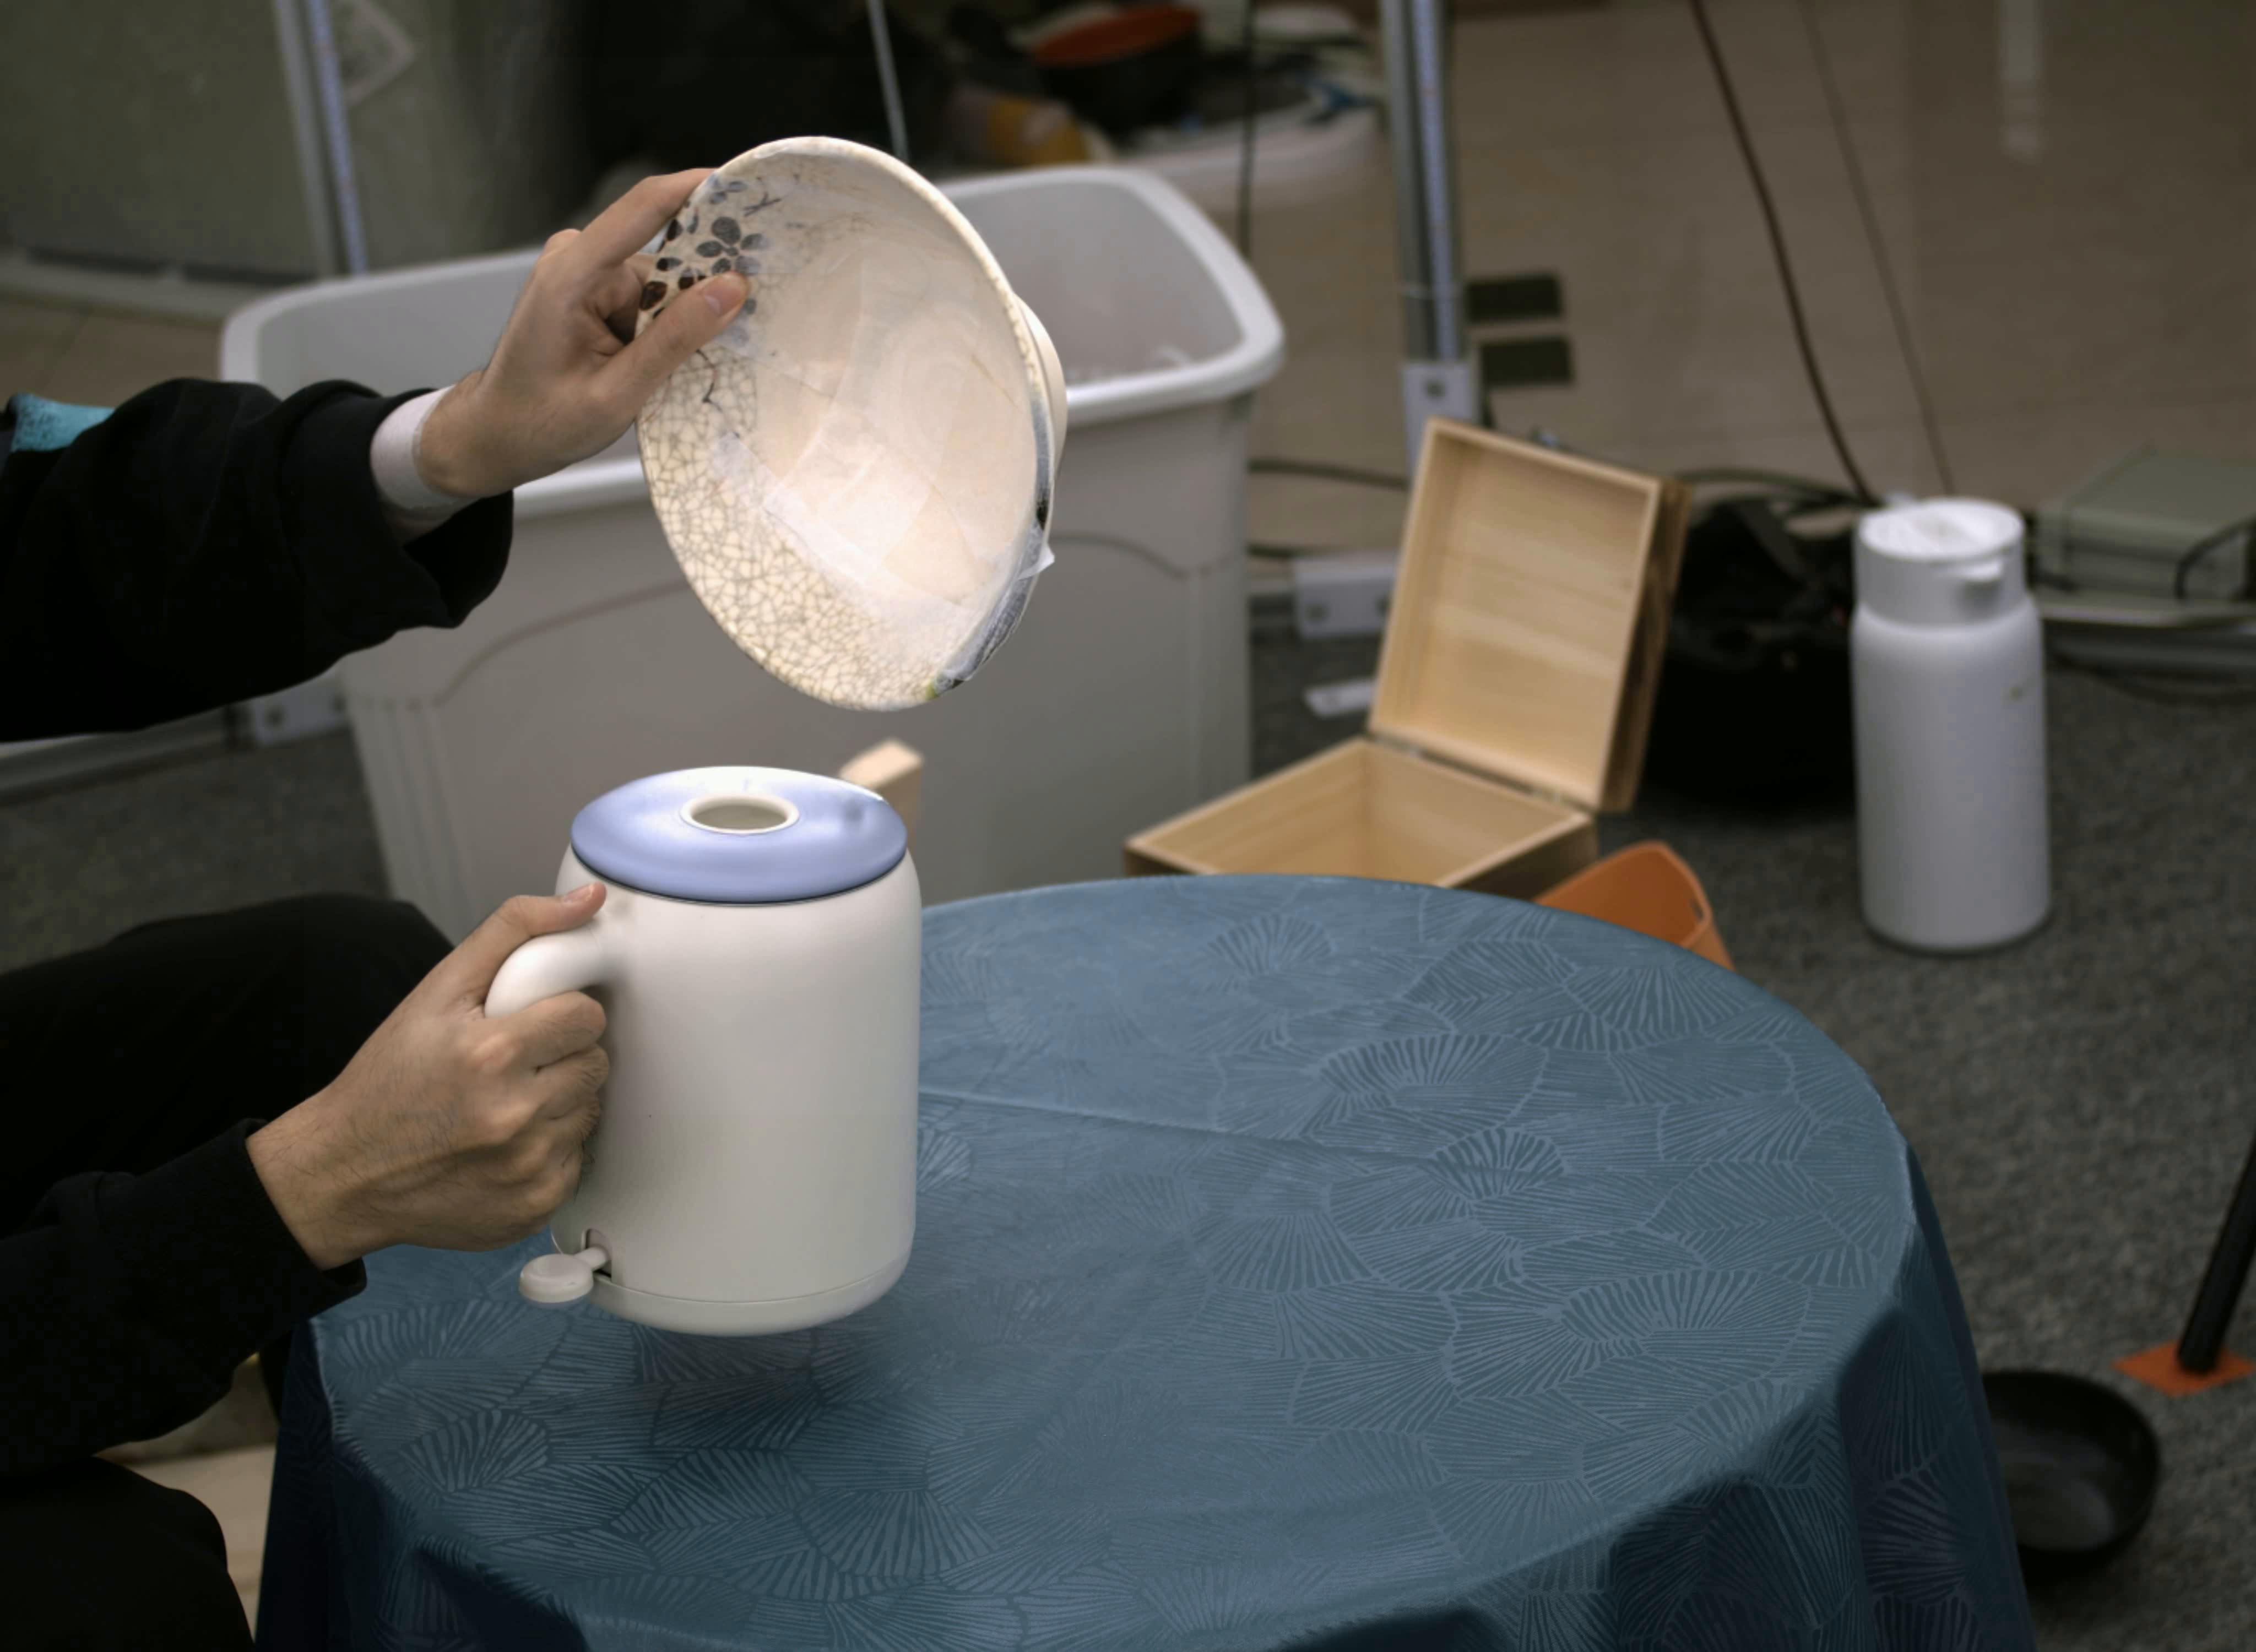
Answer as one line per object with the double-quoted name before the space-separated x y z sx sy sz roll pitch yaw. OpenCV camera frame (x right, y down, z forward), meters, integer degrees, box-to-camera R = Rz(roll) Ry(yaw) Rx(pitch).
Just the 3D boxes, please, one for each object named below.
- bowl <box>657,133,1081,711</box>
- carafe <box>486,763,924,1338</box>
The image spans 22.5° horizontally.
"bowl" -0.074 -0.147 1.997 0.077 0.207 0.202 -17 26 -41
"carafe" -0.155 0.086 1.997 0.131 0.185 0.189 20 30 38
